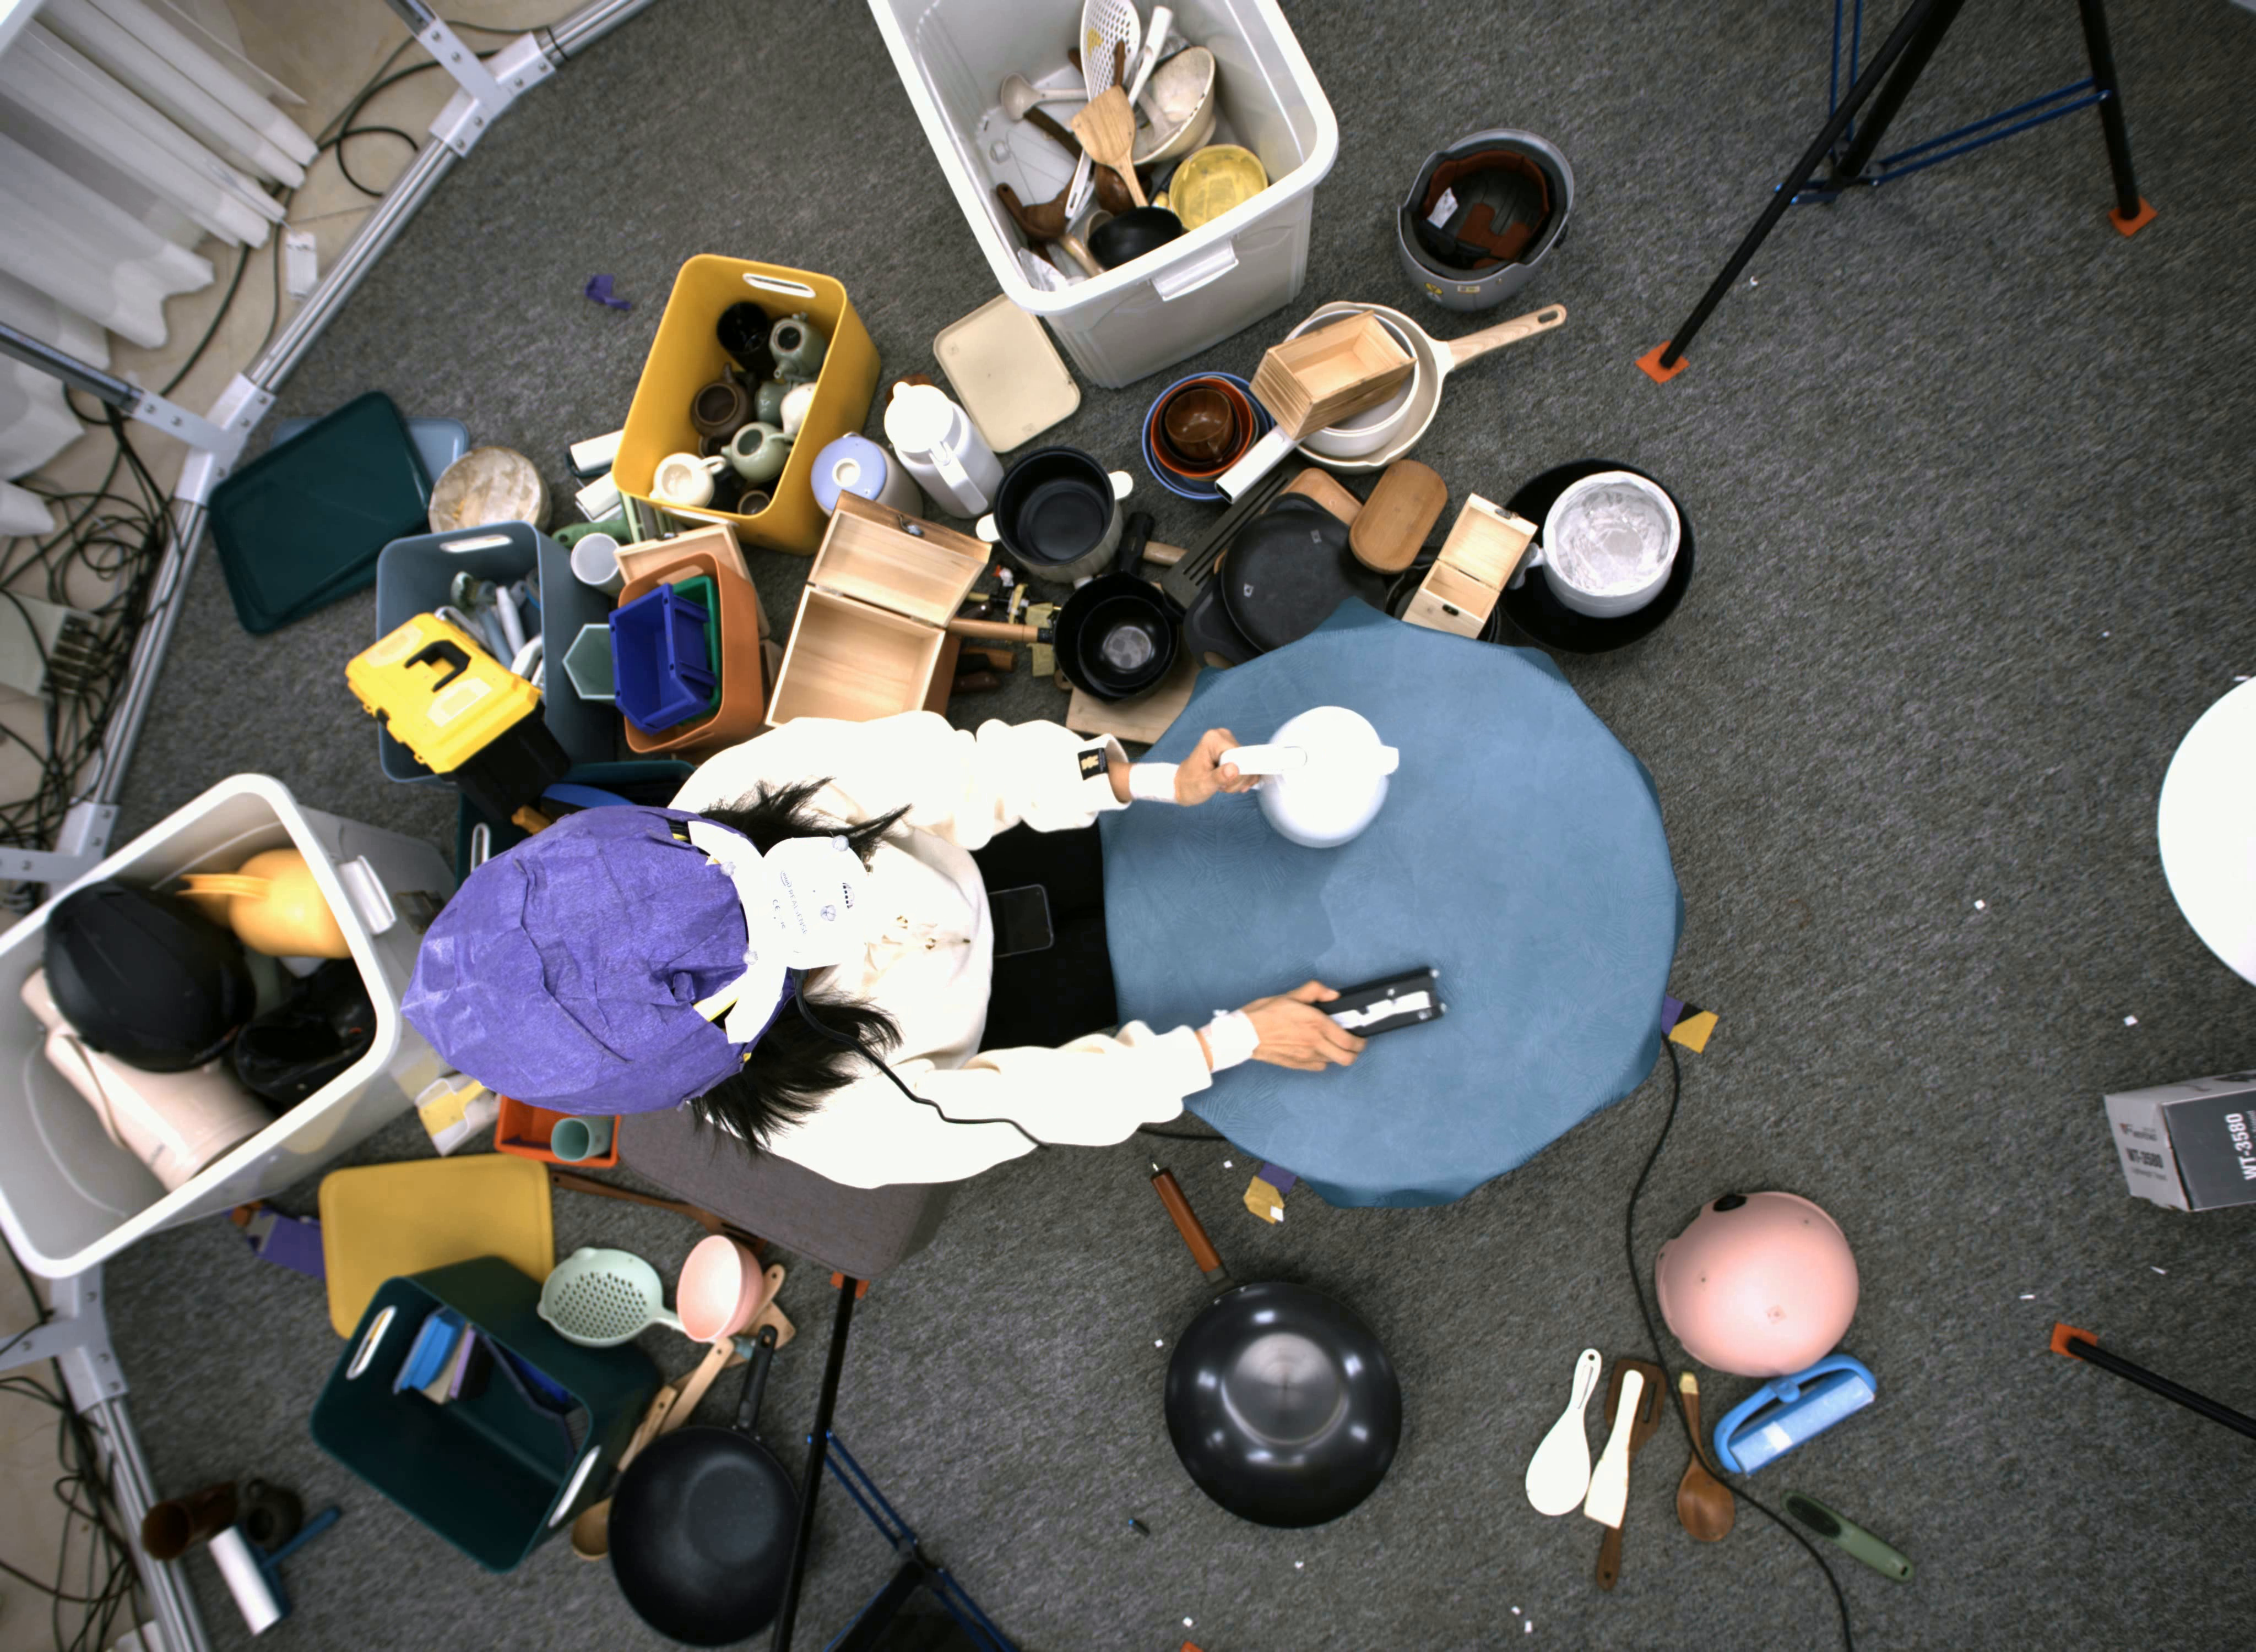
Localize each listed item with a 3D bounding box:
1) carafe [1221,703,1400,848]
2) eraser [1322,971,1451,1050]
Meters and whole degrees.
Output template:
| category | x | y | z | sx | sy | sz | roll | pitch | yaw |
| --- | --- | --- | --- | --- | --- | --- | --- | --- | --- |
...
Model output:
| category | x | y | z | sx | sy | sz | roll | pitch | yaw |
| --- | --- | --- | --- | --- | --- | --- | --- | --- | --- |
| carafe | 0.177 | -0.053 | 1.354 | 0.168 | 0.249 | 0.132 | -1 | 85 | 8 |
| eraser | 0.268 | 0.189 | 1.435 | 0.126 | 0.030 | 0.053 | -16 | 93 | 10 |
